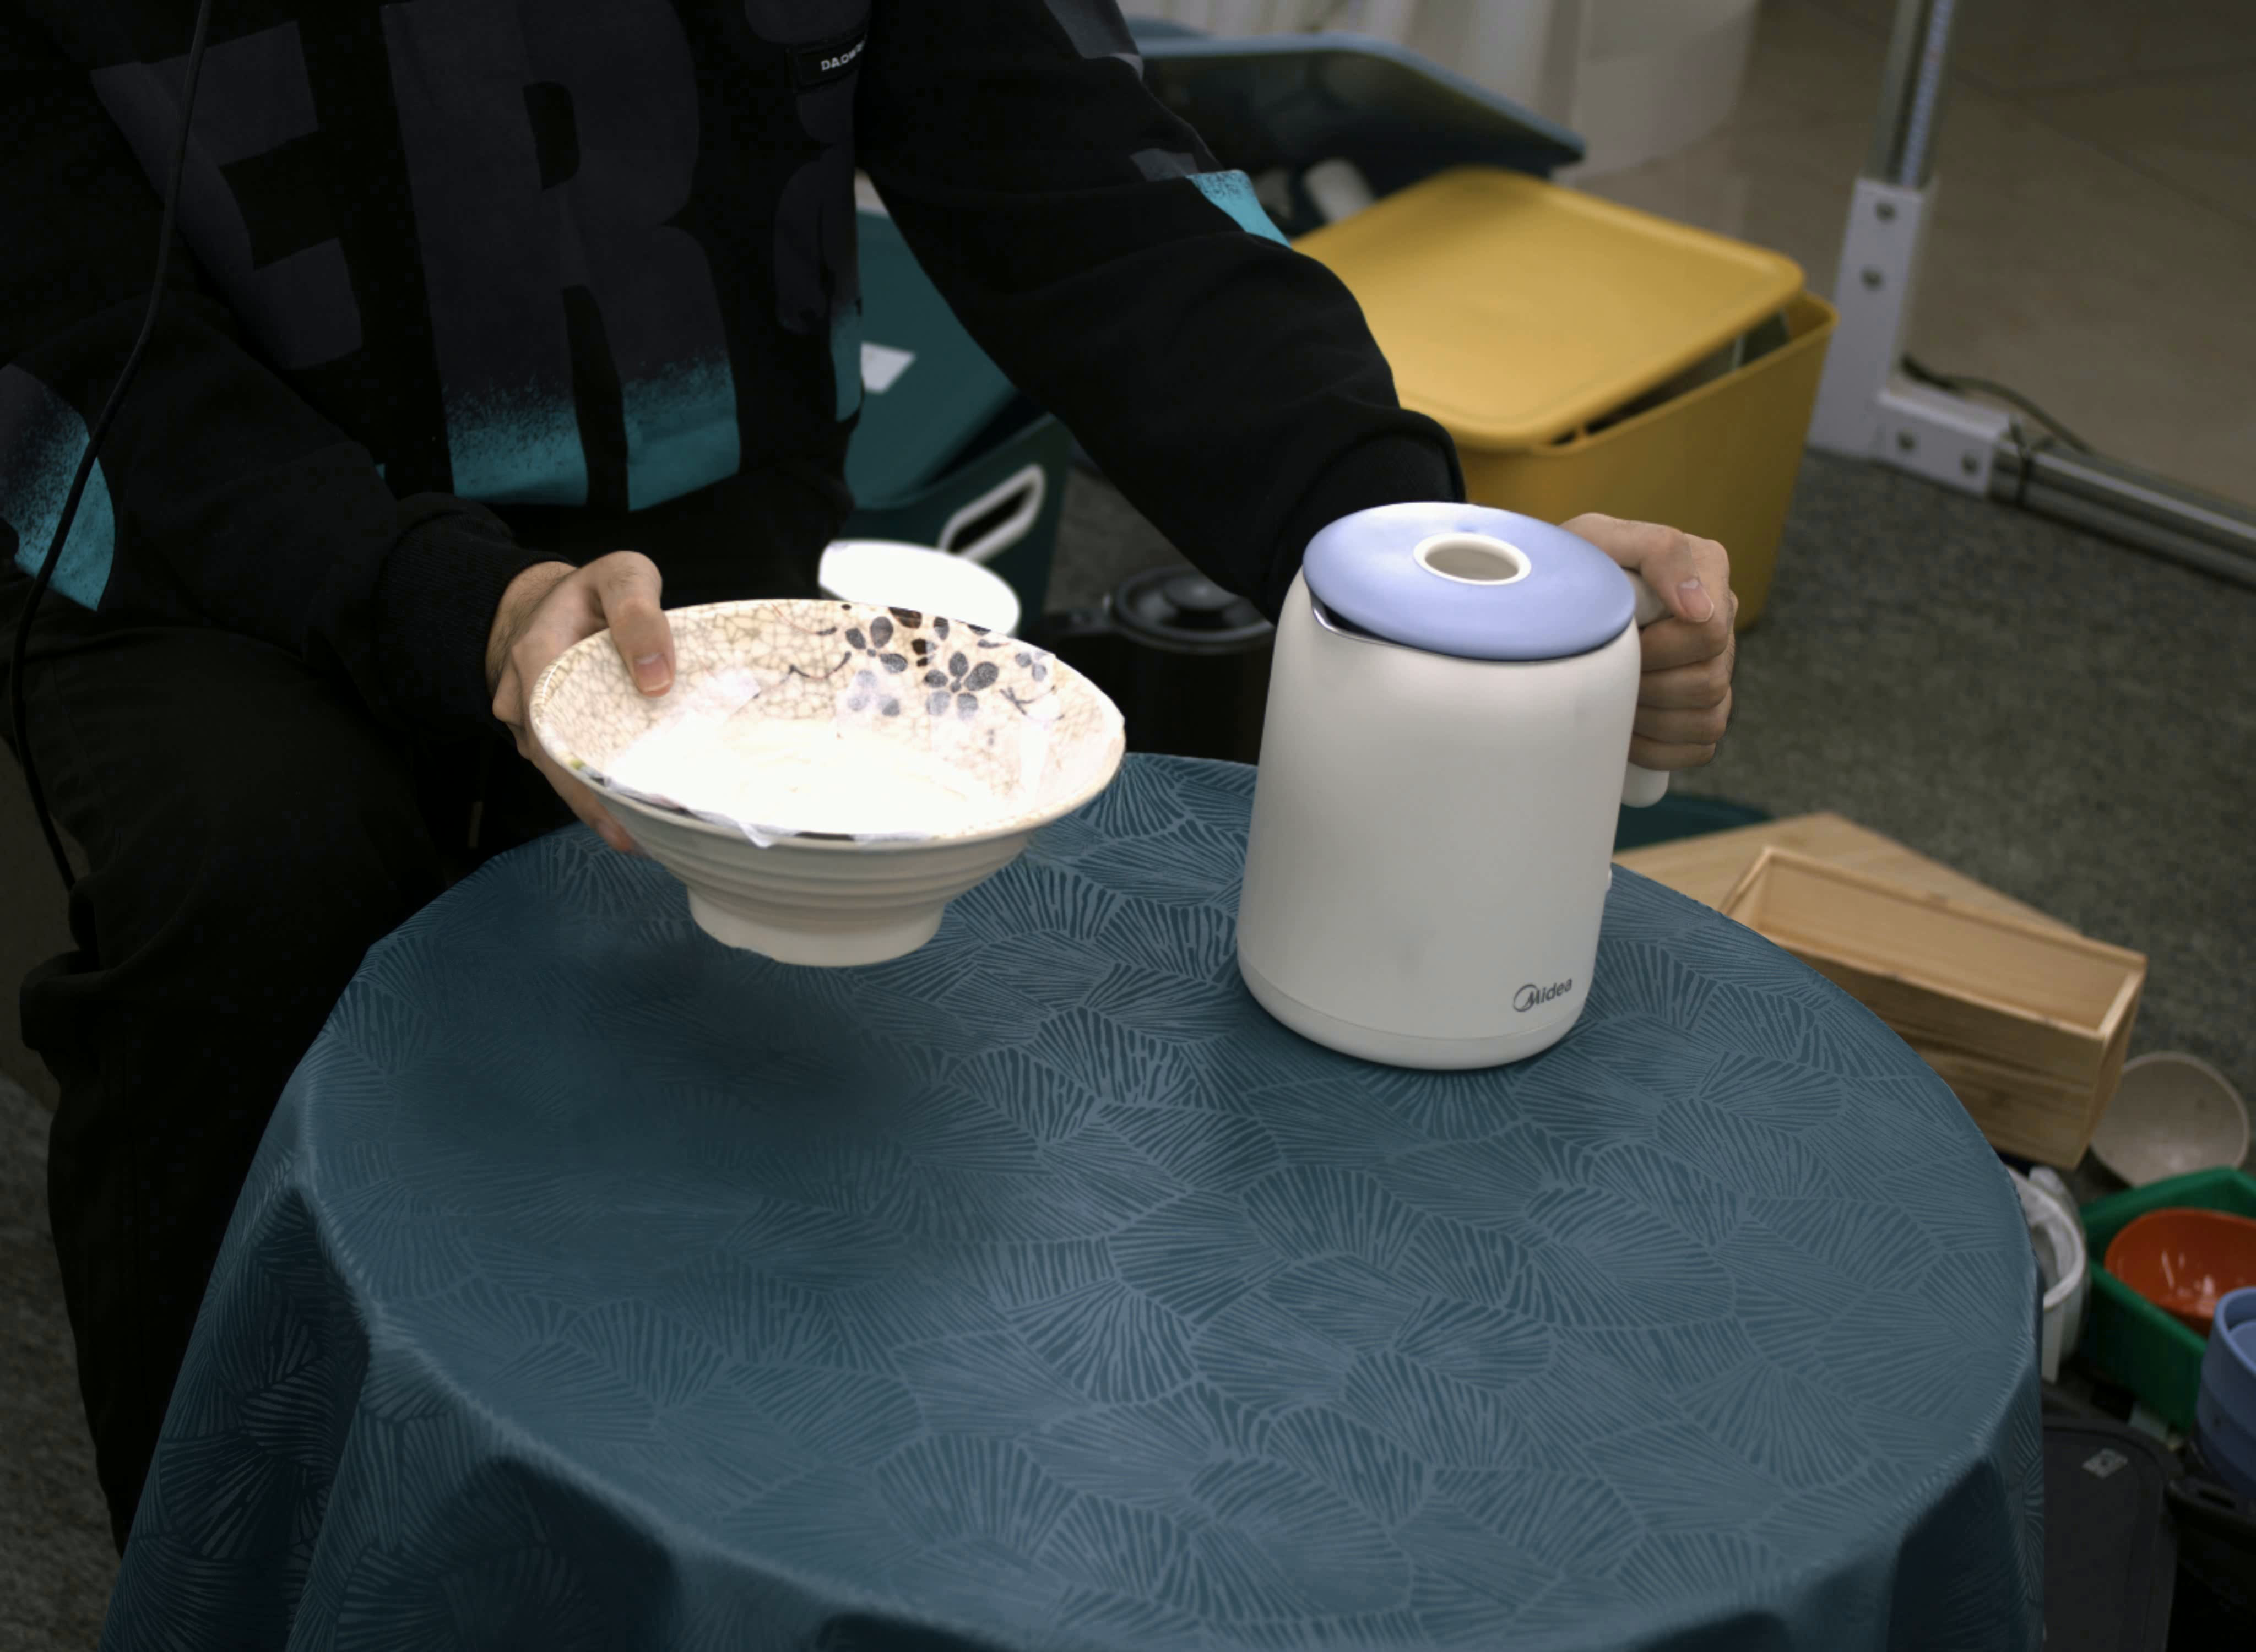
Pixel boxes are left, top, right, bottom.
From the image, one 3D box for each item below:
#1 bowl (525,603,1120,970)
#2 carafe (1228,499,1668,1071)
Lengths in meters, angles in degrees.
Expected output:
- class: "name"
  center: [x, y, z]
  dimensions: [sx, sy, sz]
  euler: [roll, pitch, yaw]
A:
- class: "bowl"
  center: [-0.107, -0.004, 1.822]
  dimensions: [0.203, 0.078, 0.205]
  euler: [5, 23, -3]
- class: "carafe"
  center: [0.127, -0.020, 1.923]
  dimensions: [0.190, 0.182, 0.133]
  euler: [-15, 35, -41]
